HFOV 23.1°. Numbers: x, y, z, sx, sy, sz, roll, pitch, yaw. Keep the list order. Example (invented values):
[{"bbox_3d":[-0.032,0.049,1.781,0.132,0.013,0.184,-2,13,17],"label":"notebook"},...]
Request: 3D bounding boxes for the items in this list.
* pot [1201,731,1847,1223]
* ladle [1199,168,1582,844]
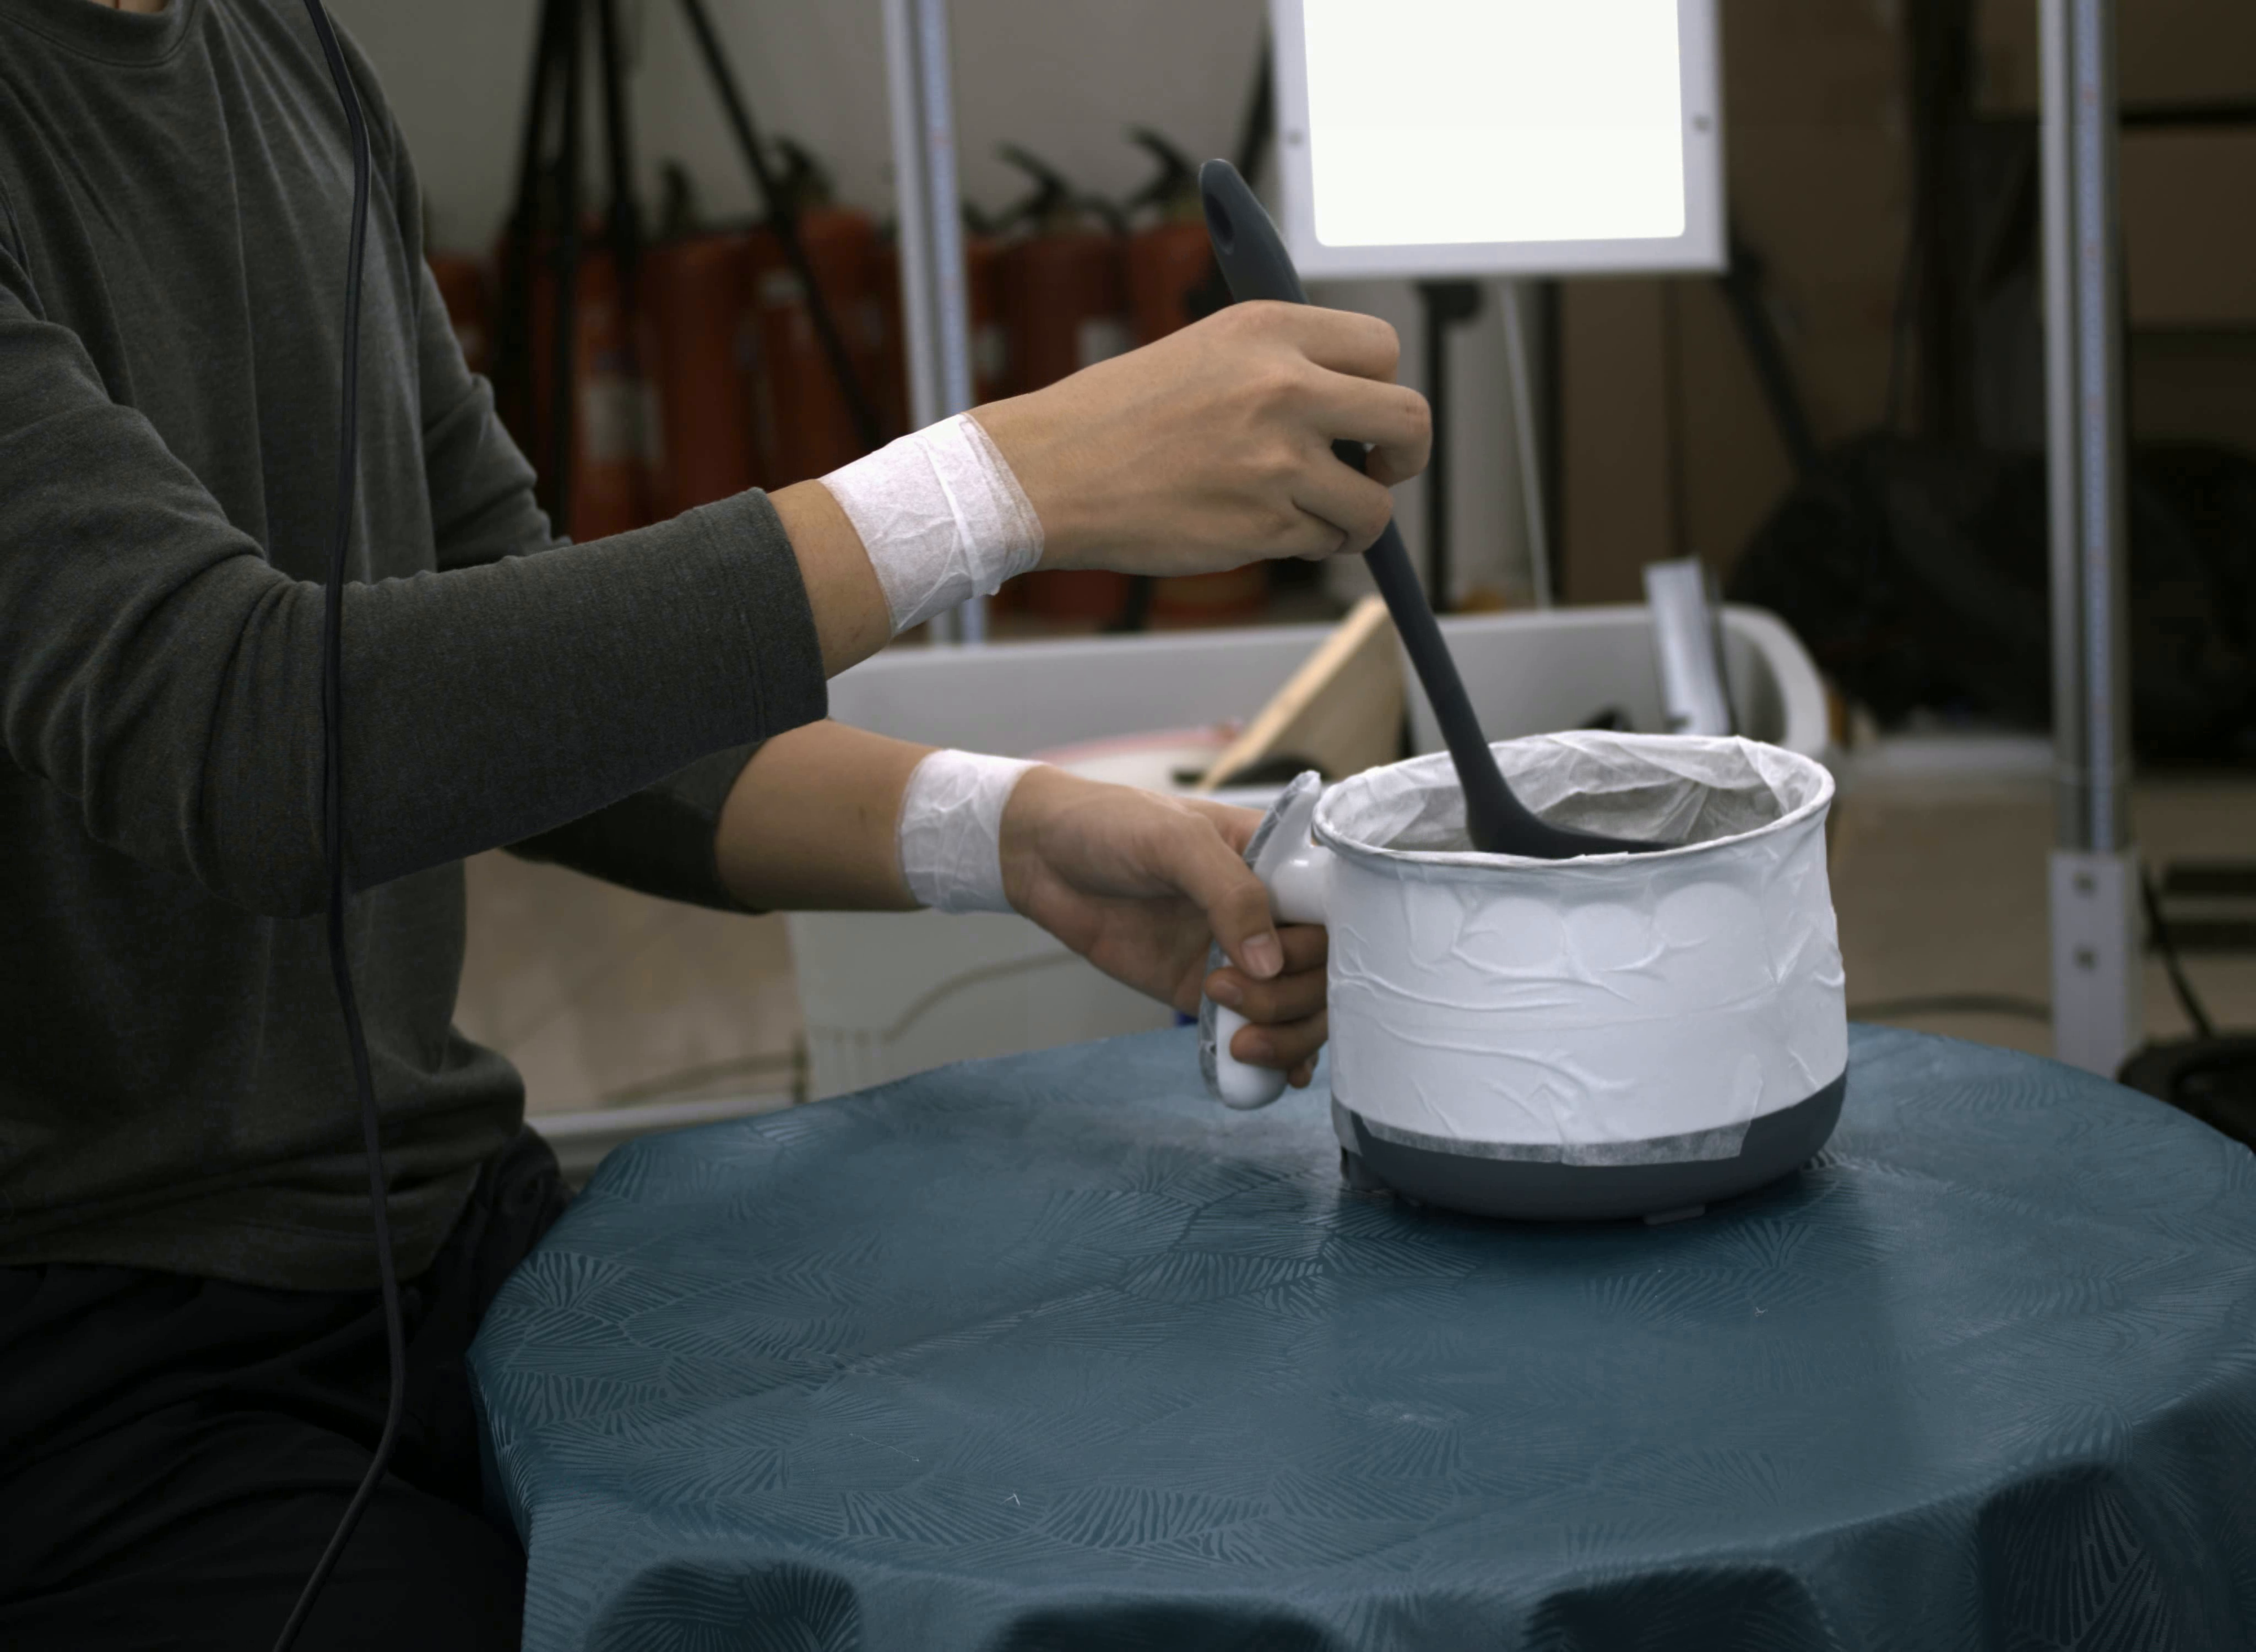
[{"bbox_3d":[0.131,0.049,1.880,0.238,0.137,0.175,2,15,27],"label":"pot"},{"bbox_3d":[0.102,-0.093,1.821,0.088,0.313,0.063,5,39,48],"label":"ladle"}]
